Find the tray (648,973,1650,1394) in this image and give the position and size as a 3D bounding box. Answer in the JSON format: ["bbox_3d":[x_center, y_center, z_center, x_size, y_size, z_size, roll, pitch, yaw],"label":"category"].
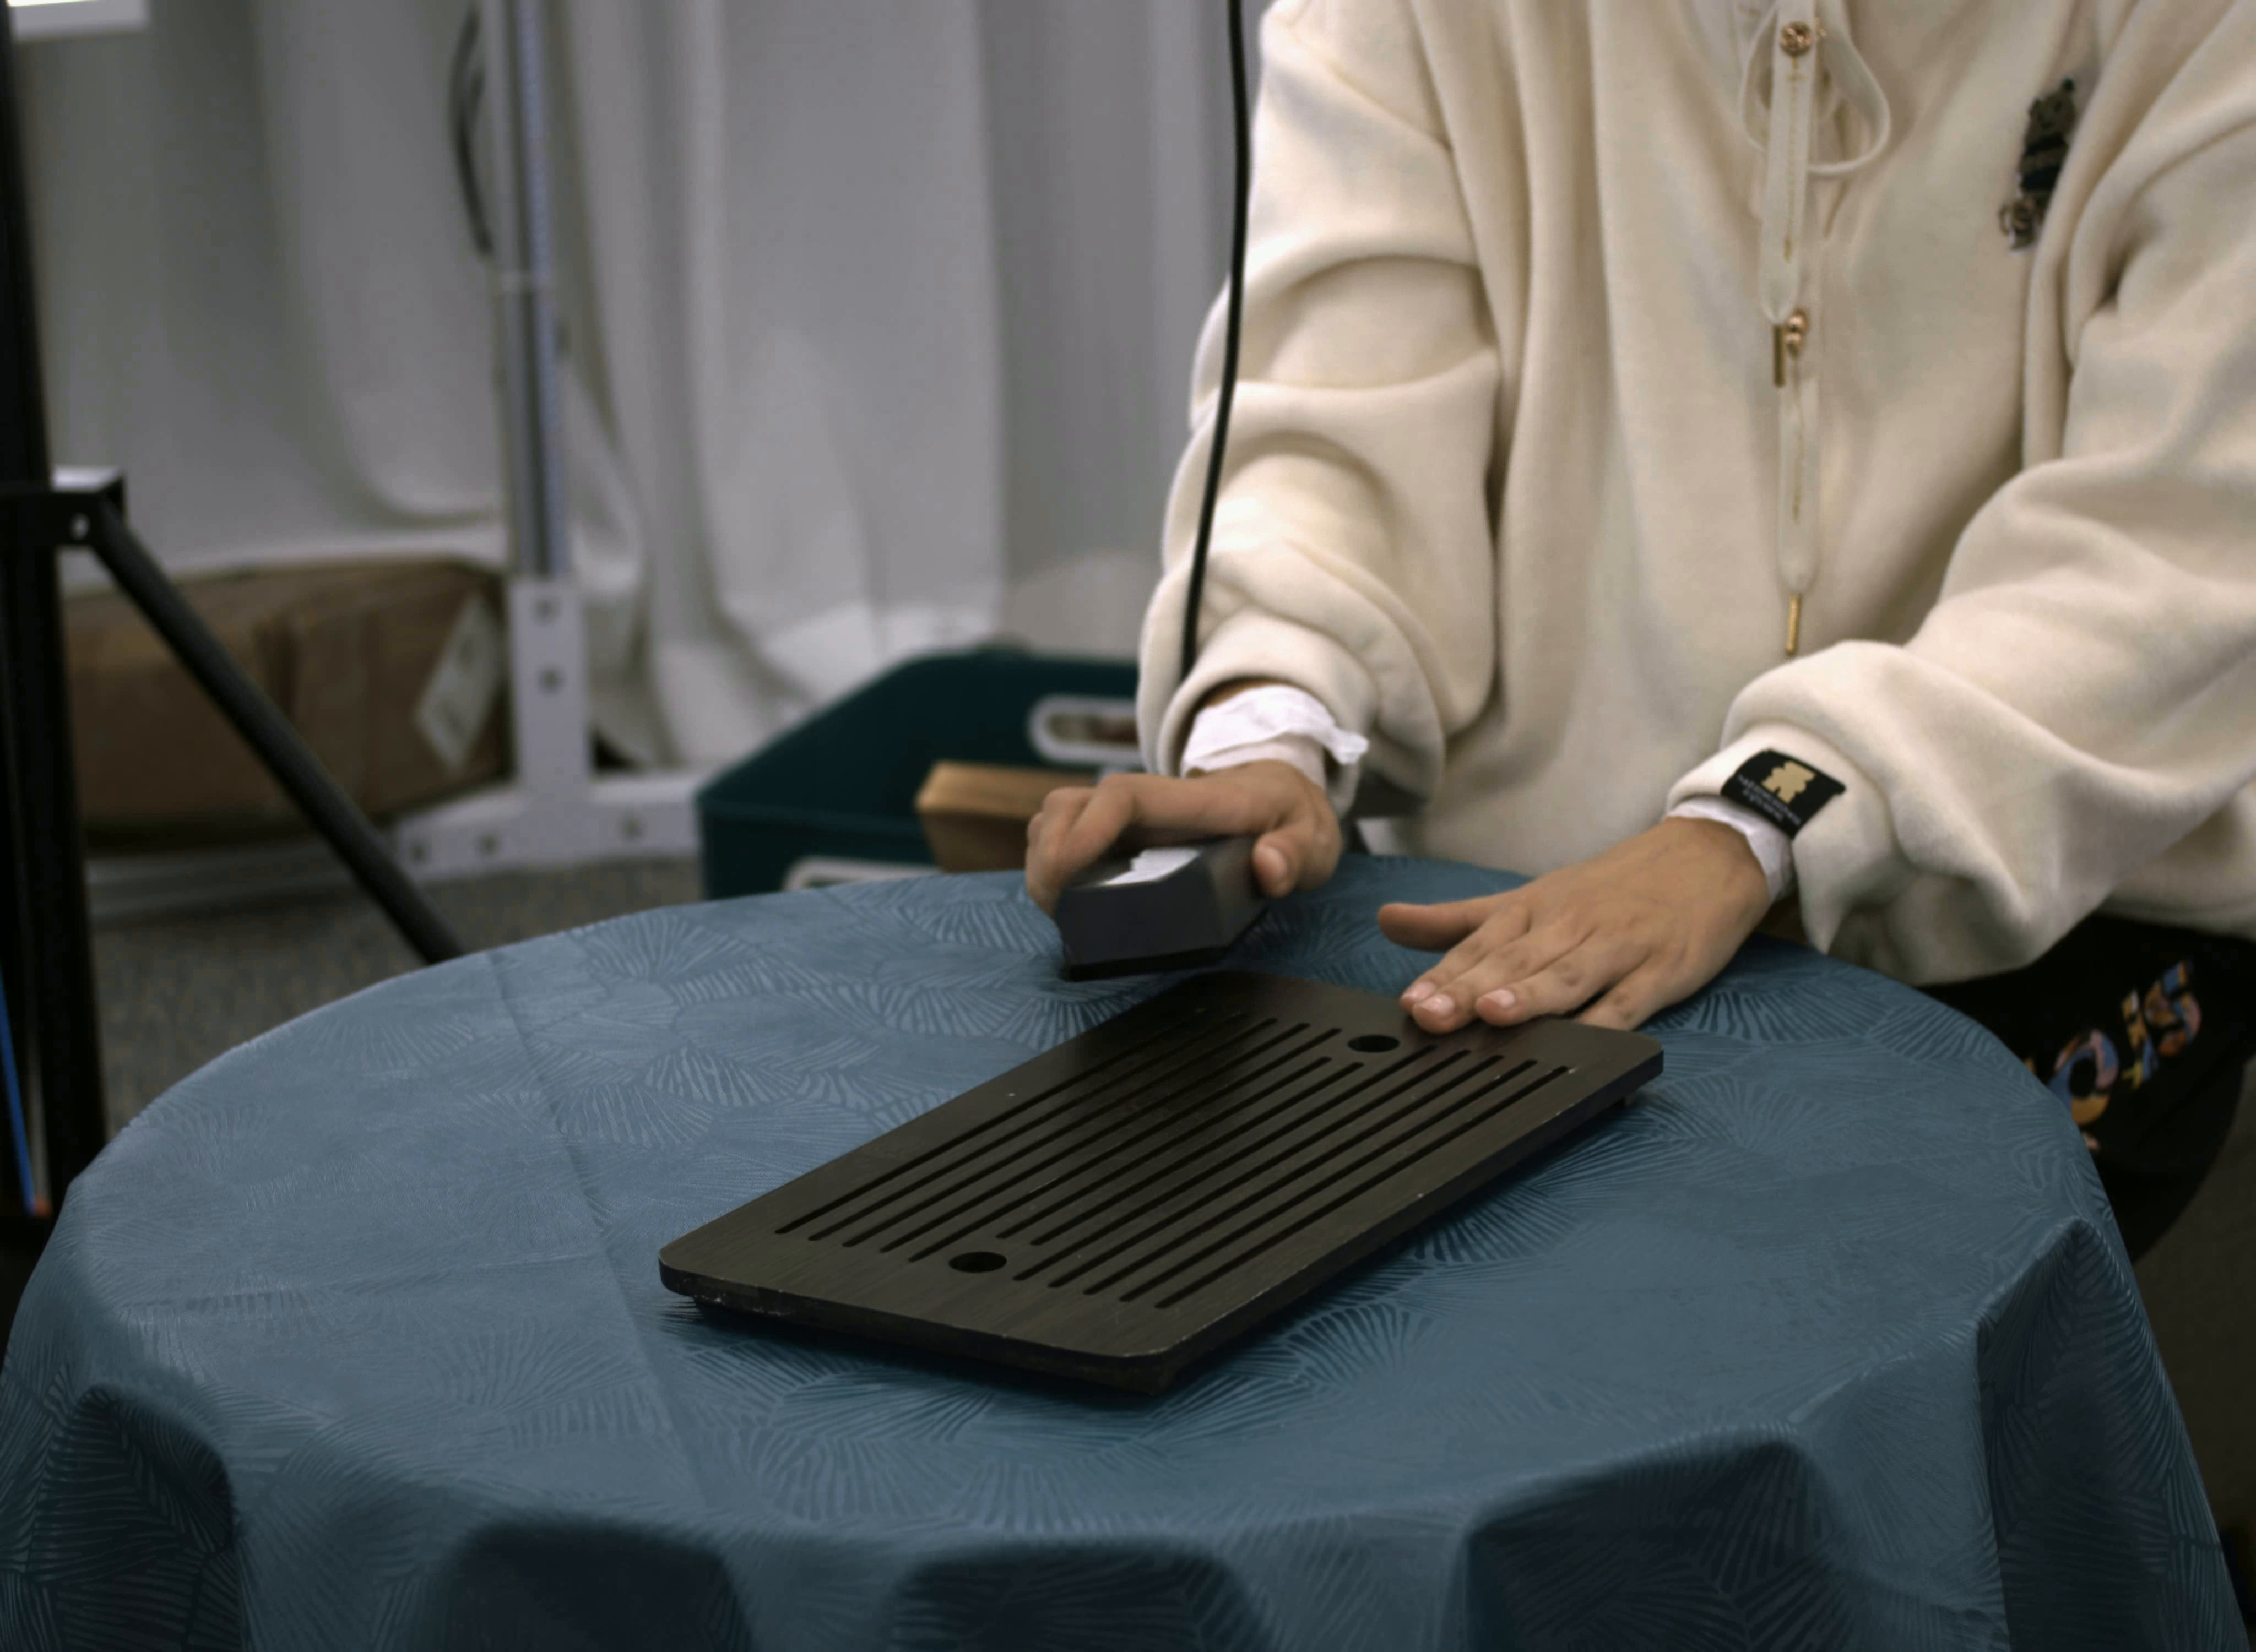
[{"bbox_3d":[0.013,0.101,1.548,0.173,0.018,0.300,8,19,33],"label":"tray"}]

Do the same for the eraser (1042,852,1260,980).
[{"bbox_3d":[0.009,0.028,1.699,0.054,0.030,0.124,-5,3,10],"label":"eraser"}]
